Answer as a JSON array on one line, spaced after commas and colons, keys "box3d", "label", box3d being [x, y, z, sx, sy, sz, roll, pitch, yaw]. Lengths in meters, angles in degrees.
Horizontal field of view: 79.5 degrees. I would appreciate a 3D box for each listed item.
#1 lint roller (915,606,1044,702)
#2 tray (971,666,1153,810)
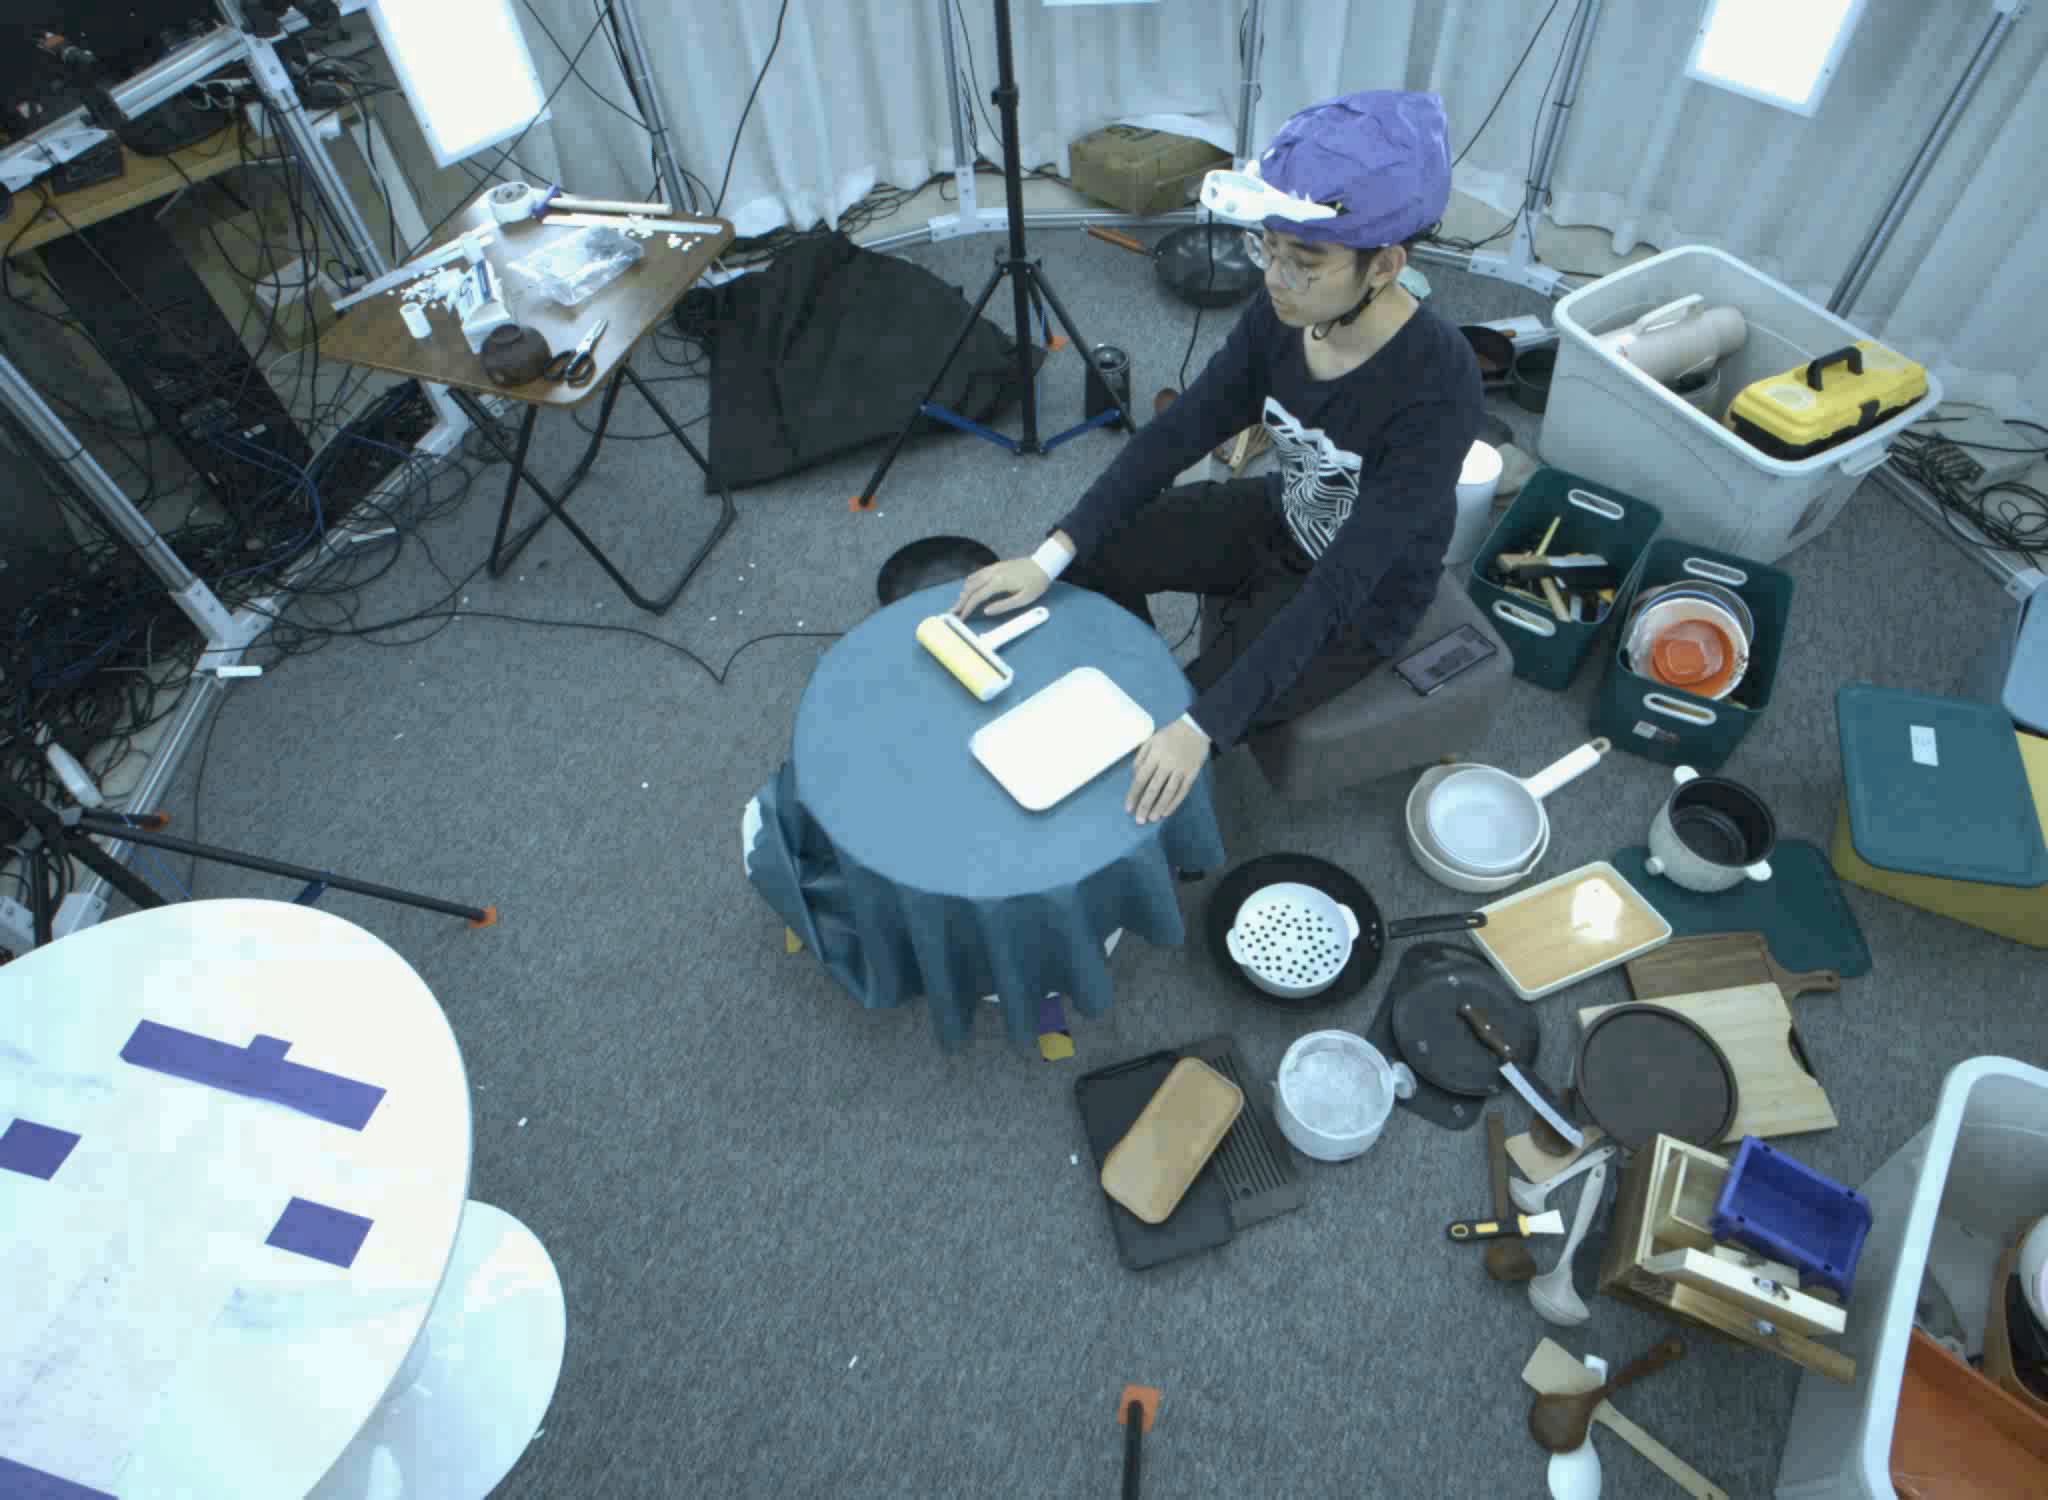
[{"box3d": [-0.046, -0.180, 1.895, 0.193, 0.052, 0.171, -37, 63, -20], "label": "lint roller"}, {"box3d": [0.056, -0.018, 1.796, 0.241, 0.017, 0.168, -33, 61, -21], "label": "tray"}]
